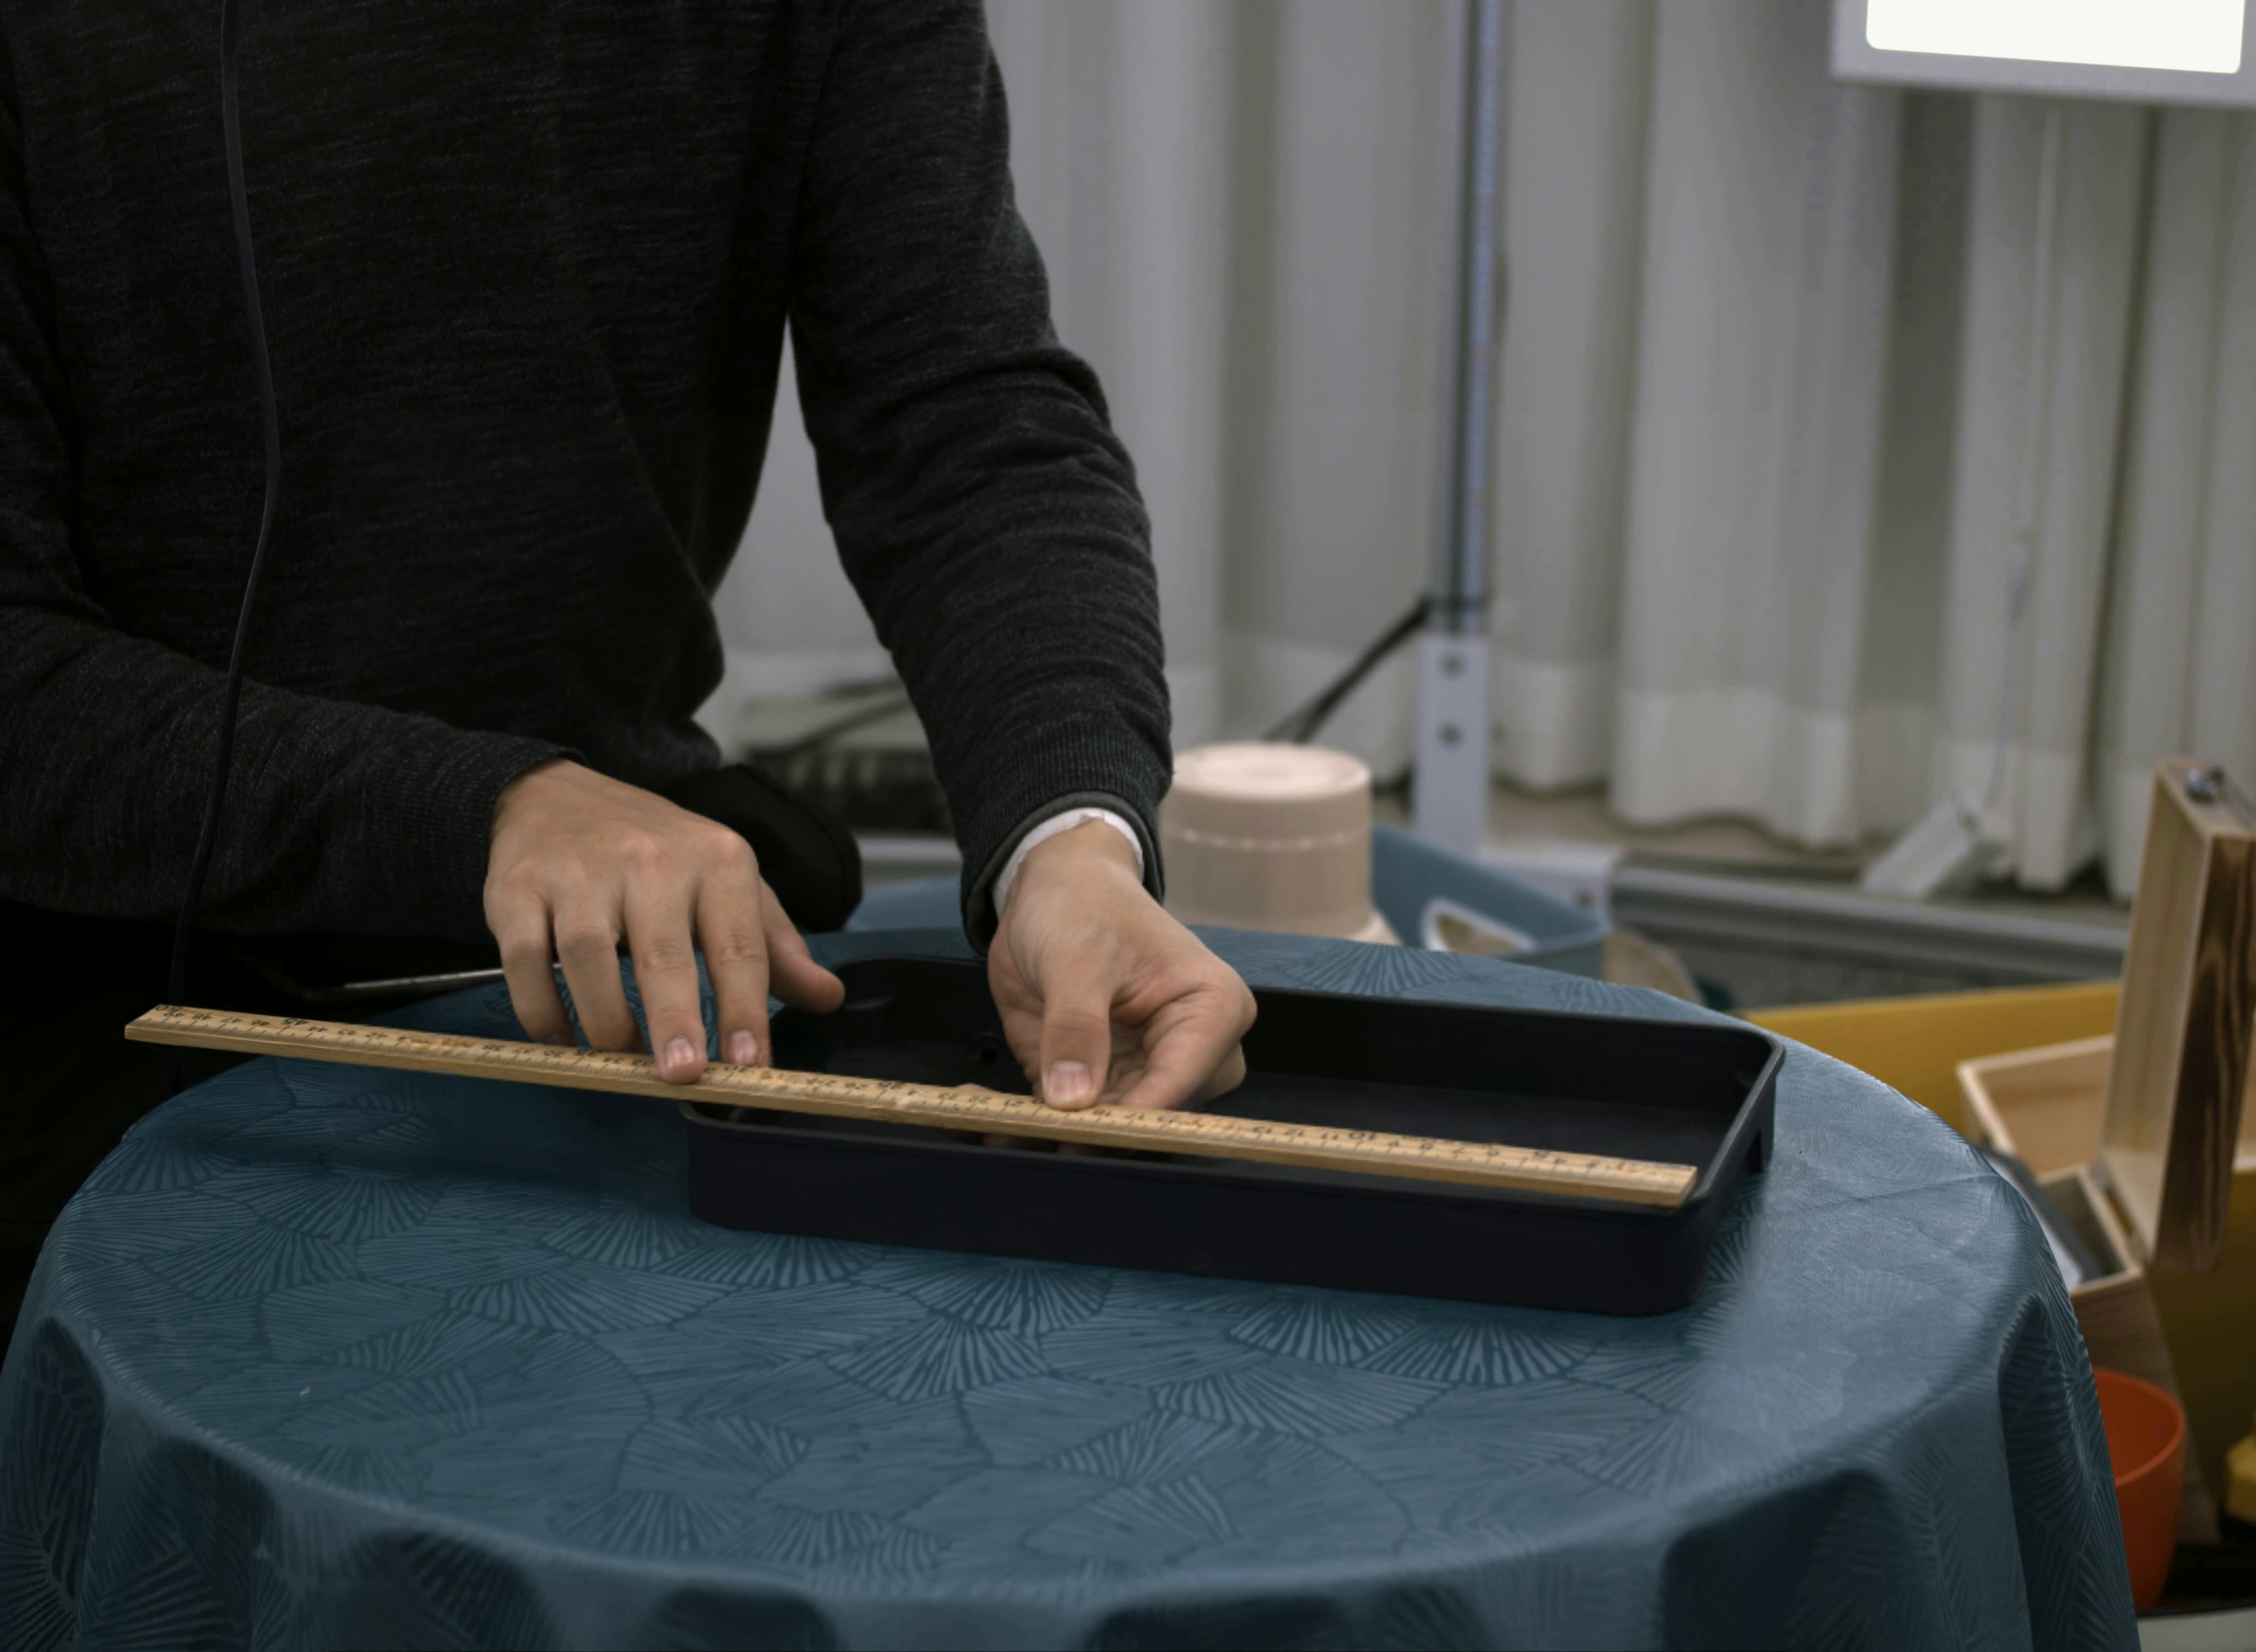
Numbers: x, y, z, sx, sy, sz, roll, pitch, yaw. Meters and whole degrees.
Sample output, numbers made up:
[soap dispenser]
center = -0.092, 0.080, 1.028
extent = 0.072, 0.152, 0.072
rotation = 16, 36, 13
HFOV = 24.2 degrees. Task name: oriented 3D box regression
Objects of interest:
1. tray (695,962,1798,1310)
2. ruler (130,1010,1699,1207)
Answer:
[tray]
center = 0.040, 0.093, 1.627
extent = 0.315, 0.037, 0.184
rotation = 4, 15, 13
[ruler]
center = -0.073, 0.083, 1.587
extent = 0.496, 0.006, 0.027
rotation = 5, 14, 17
